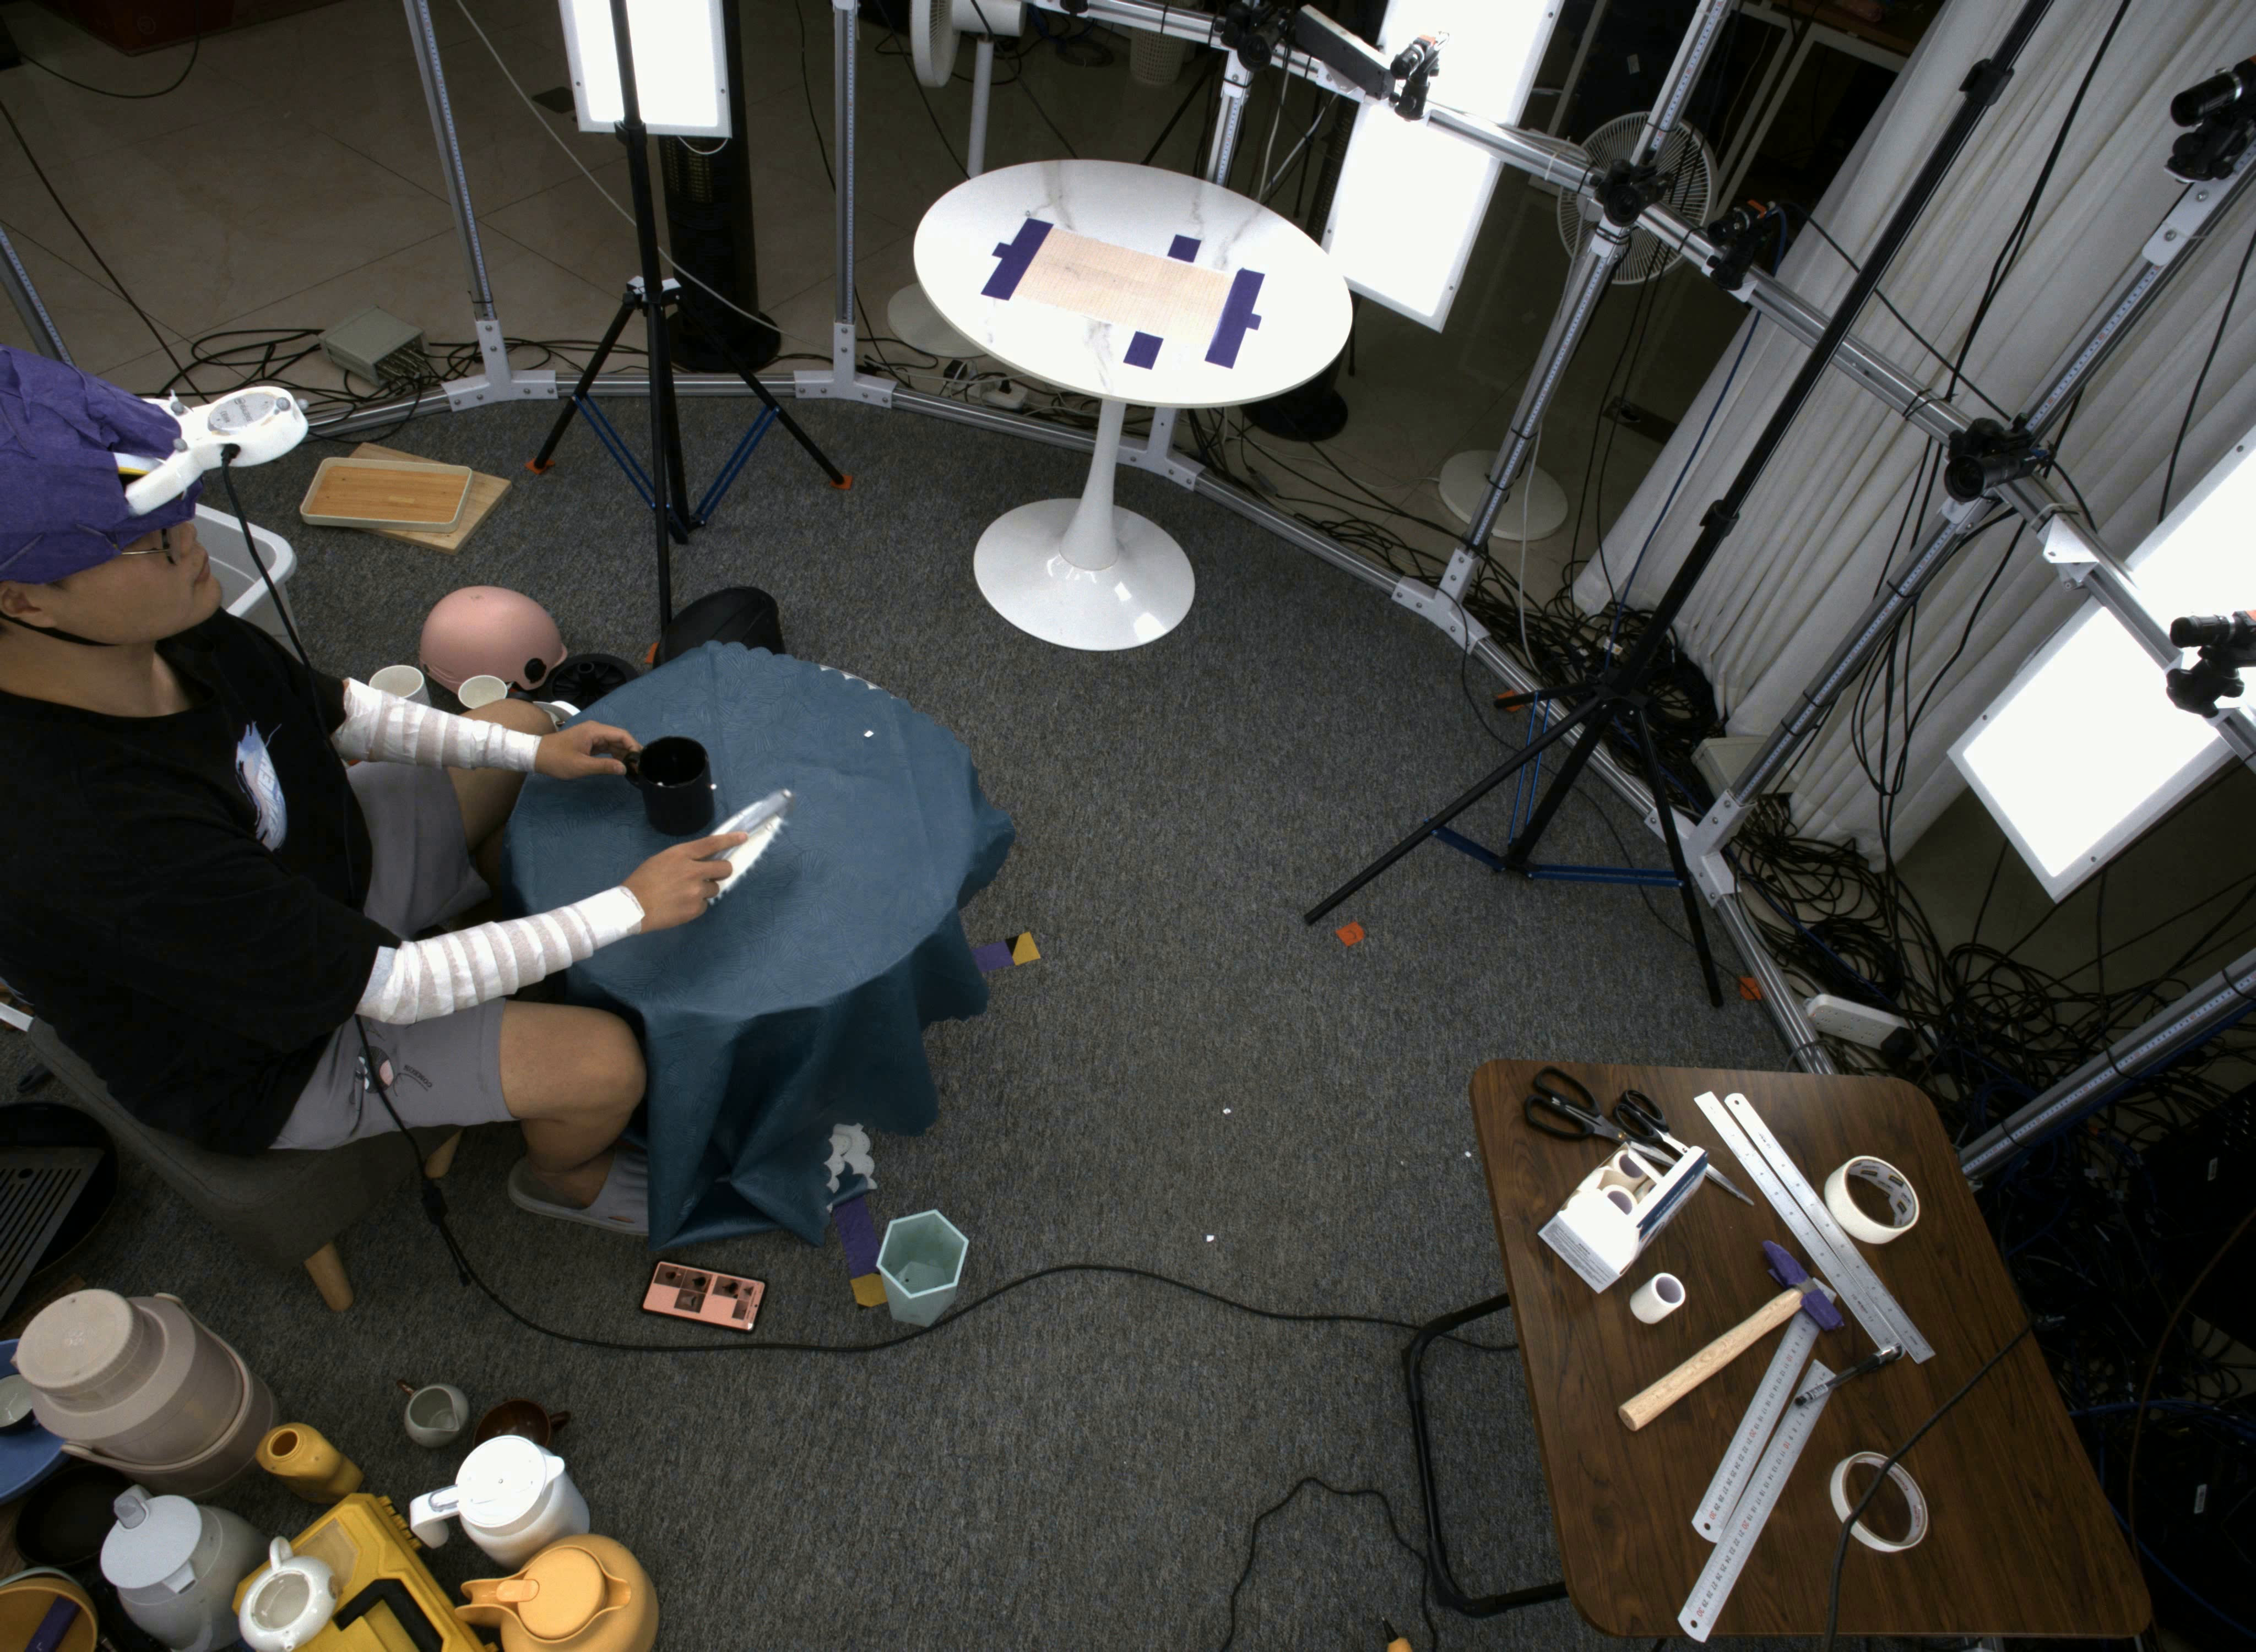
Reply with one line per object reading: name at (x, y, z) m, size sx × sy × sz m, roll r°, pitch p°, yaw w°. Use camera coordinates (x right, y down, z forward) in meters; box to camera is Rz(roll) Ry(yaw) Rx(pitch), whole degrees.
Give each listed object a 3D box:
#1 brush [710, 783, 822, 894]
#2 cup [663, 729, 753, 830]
brush at (-0.445, 0.004, 1.609) m, size 0.062 × 0.093 × 0.175 m, roll 46°, pitch 77°, yaw -6°
cup at (-0.555, -0.068, 1.687) m, size 0.122 × 0.107 × 0.088 m, roll 24°, pitch 56°, yaw 7°
